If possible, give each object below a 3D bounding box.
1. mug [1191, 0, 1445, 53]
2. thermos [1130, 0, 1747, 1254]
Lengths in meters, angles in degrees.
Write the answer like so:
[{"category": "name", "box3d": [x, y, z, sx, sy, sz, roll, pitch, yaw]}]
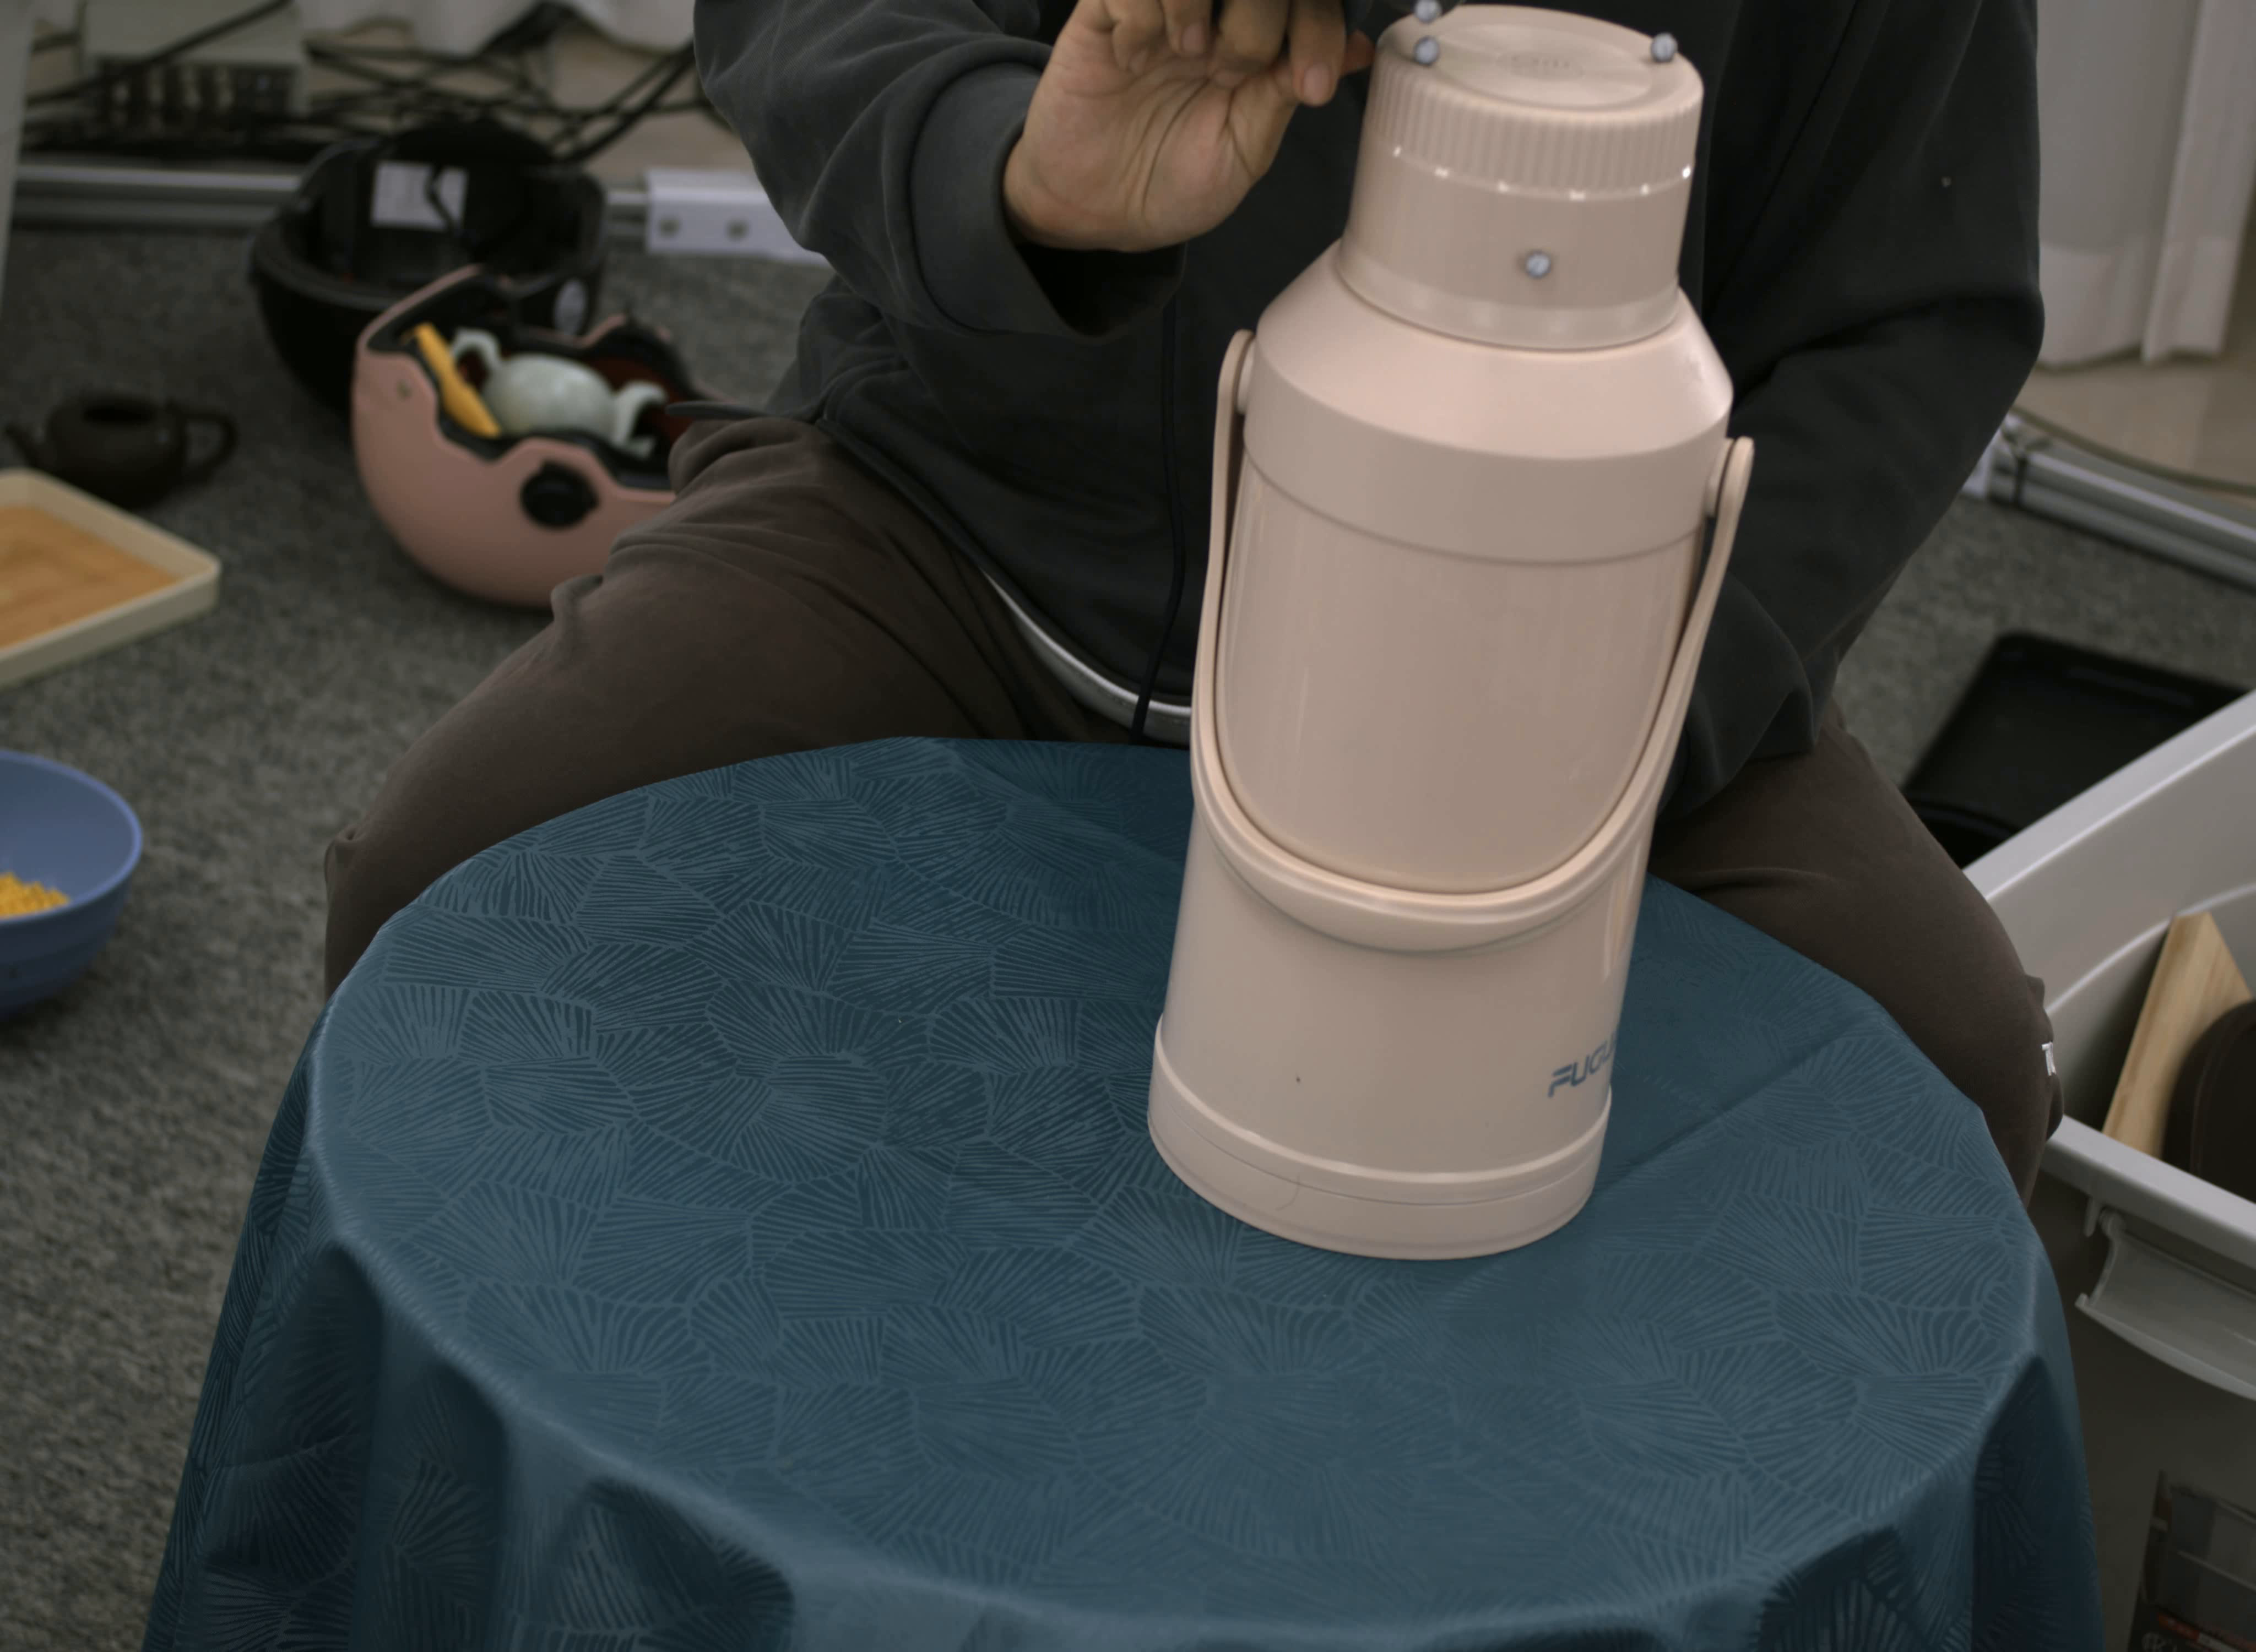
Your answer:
[{"category": "mug", "box3d": [0.063, -0.295, 1.653, 0.089, 0.123, 0.094, 23, 31, -16]}, {"category": "thermos", "box3d": [0.109, -0.072, 1.781, 0.175, 0.405, 0.207, 13, 27, 11]}]
